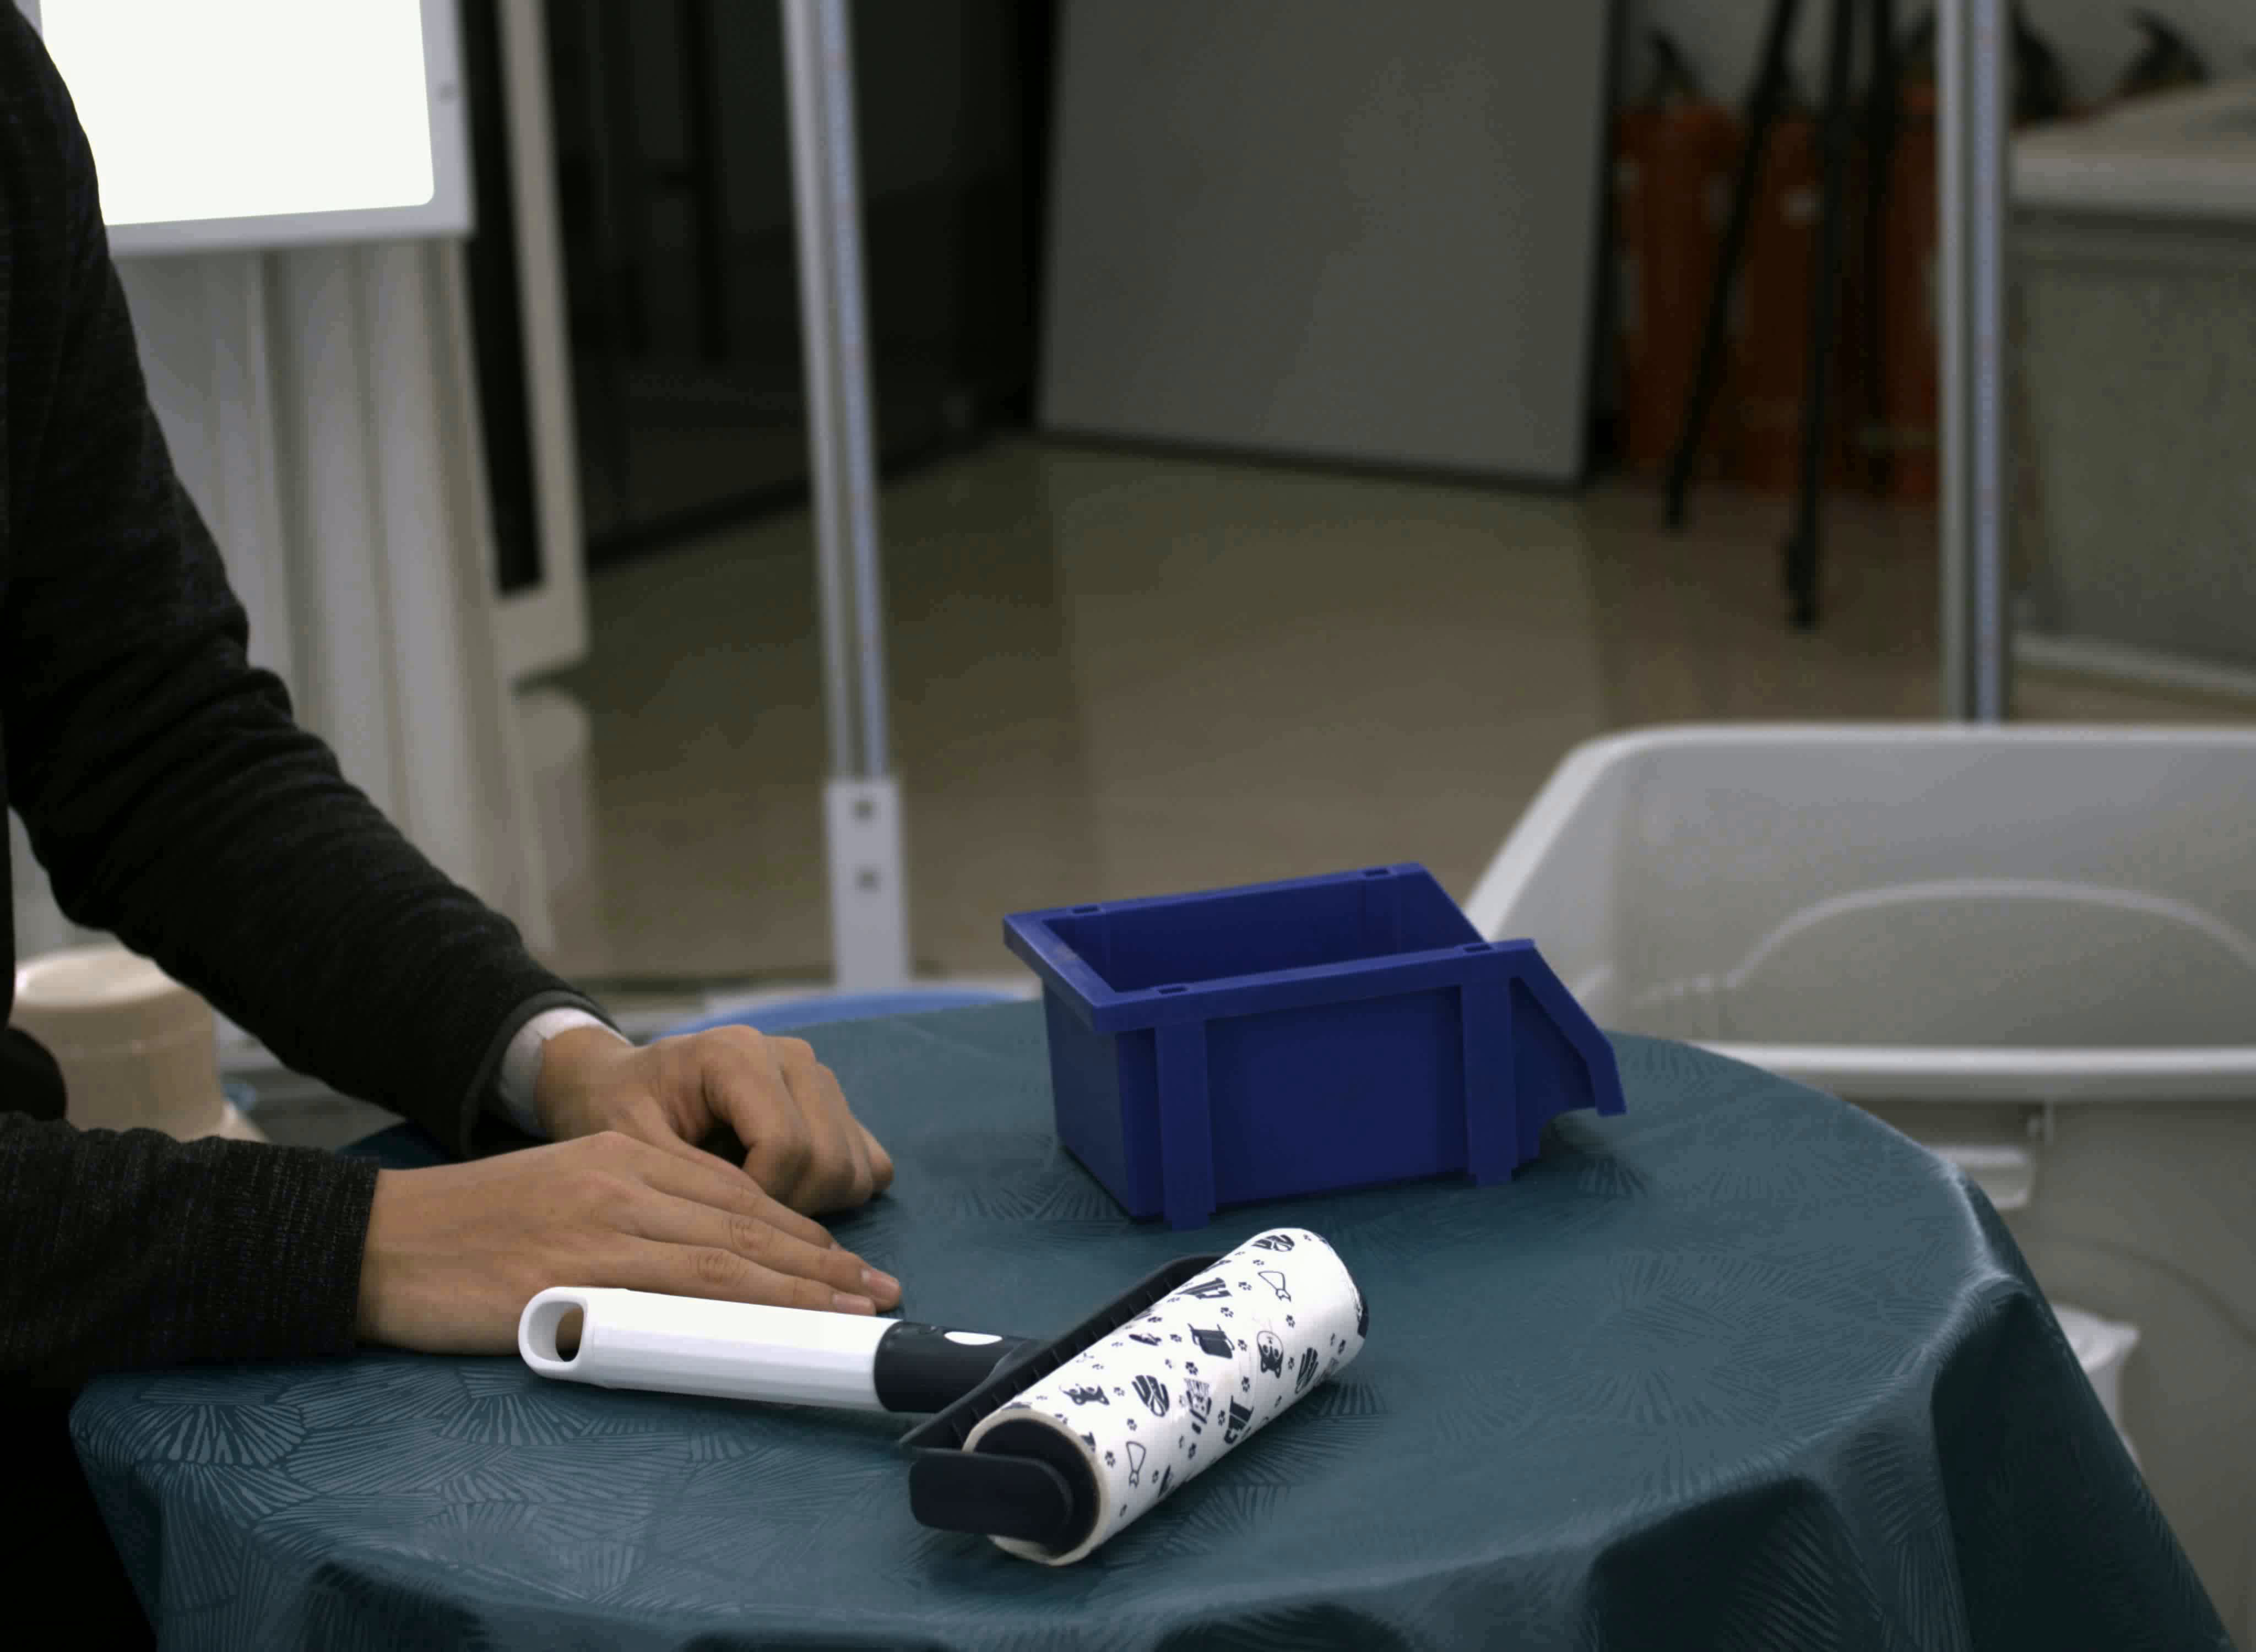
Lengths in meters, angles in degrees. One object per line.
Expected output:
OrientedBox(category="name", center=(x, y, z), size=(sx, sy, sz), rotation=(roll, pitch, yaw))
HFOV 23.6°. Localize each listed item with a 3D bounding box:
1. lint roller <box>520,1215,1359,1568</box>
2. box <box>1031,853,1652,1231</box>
OrientedBox(category="lint roller", center=(-0.075, 0.155, 1.567), size=(0.248, 0.051, 0.174), rotation=(2, 16, 30))
OrientedBox(category="box", center=(0.070, 0.068, 1.791), size=(0.176, 0.083, 0.125), rotation=(-10, 14, -11))
